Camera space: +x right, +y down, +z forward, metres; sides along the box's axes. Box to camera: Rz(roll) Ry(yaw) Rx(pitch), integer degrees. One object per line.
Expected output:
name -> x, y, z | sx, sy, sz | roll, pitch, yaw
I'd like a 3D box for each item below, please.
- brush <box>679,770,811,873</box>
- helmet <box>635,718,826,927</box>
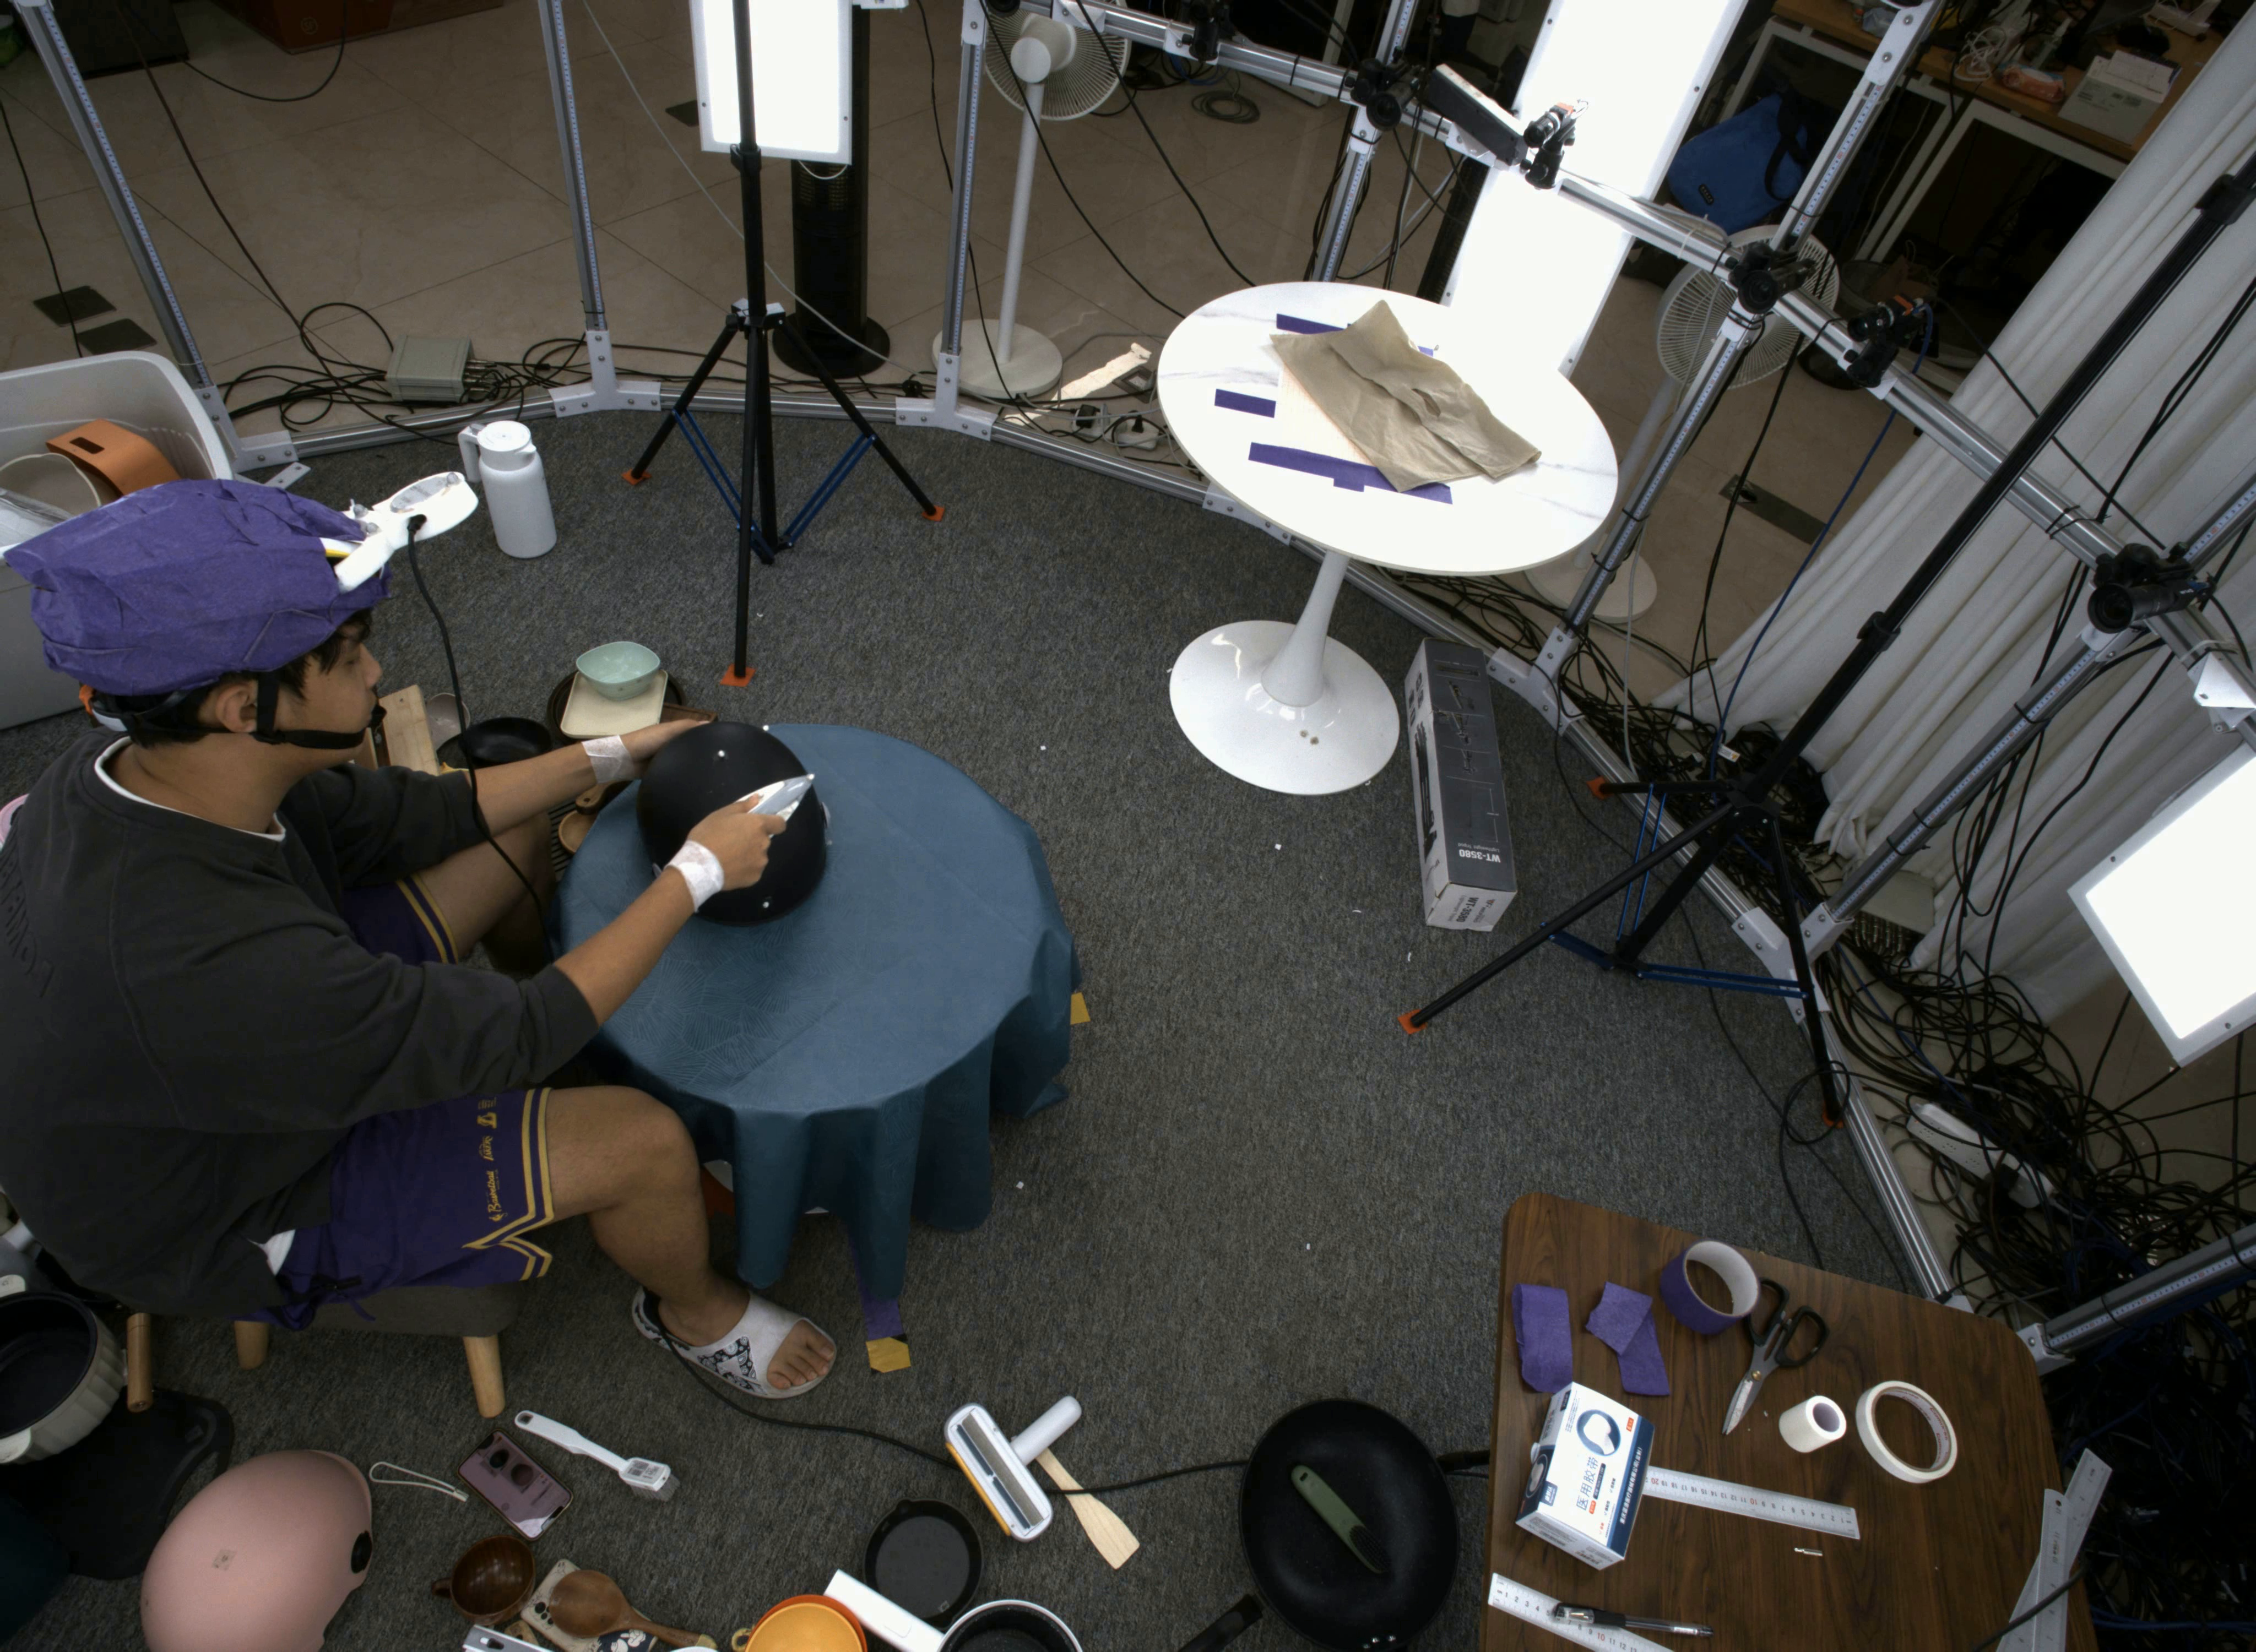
brush -> -0.436, -0.021, 1.512 | 0.175, 0.092, 0.062 | -40, 101, -32
helmet -> -0.503, -0.026, 1.622 | 0.231, 0.170, 0.267 | -21, 64, -24
